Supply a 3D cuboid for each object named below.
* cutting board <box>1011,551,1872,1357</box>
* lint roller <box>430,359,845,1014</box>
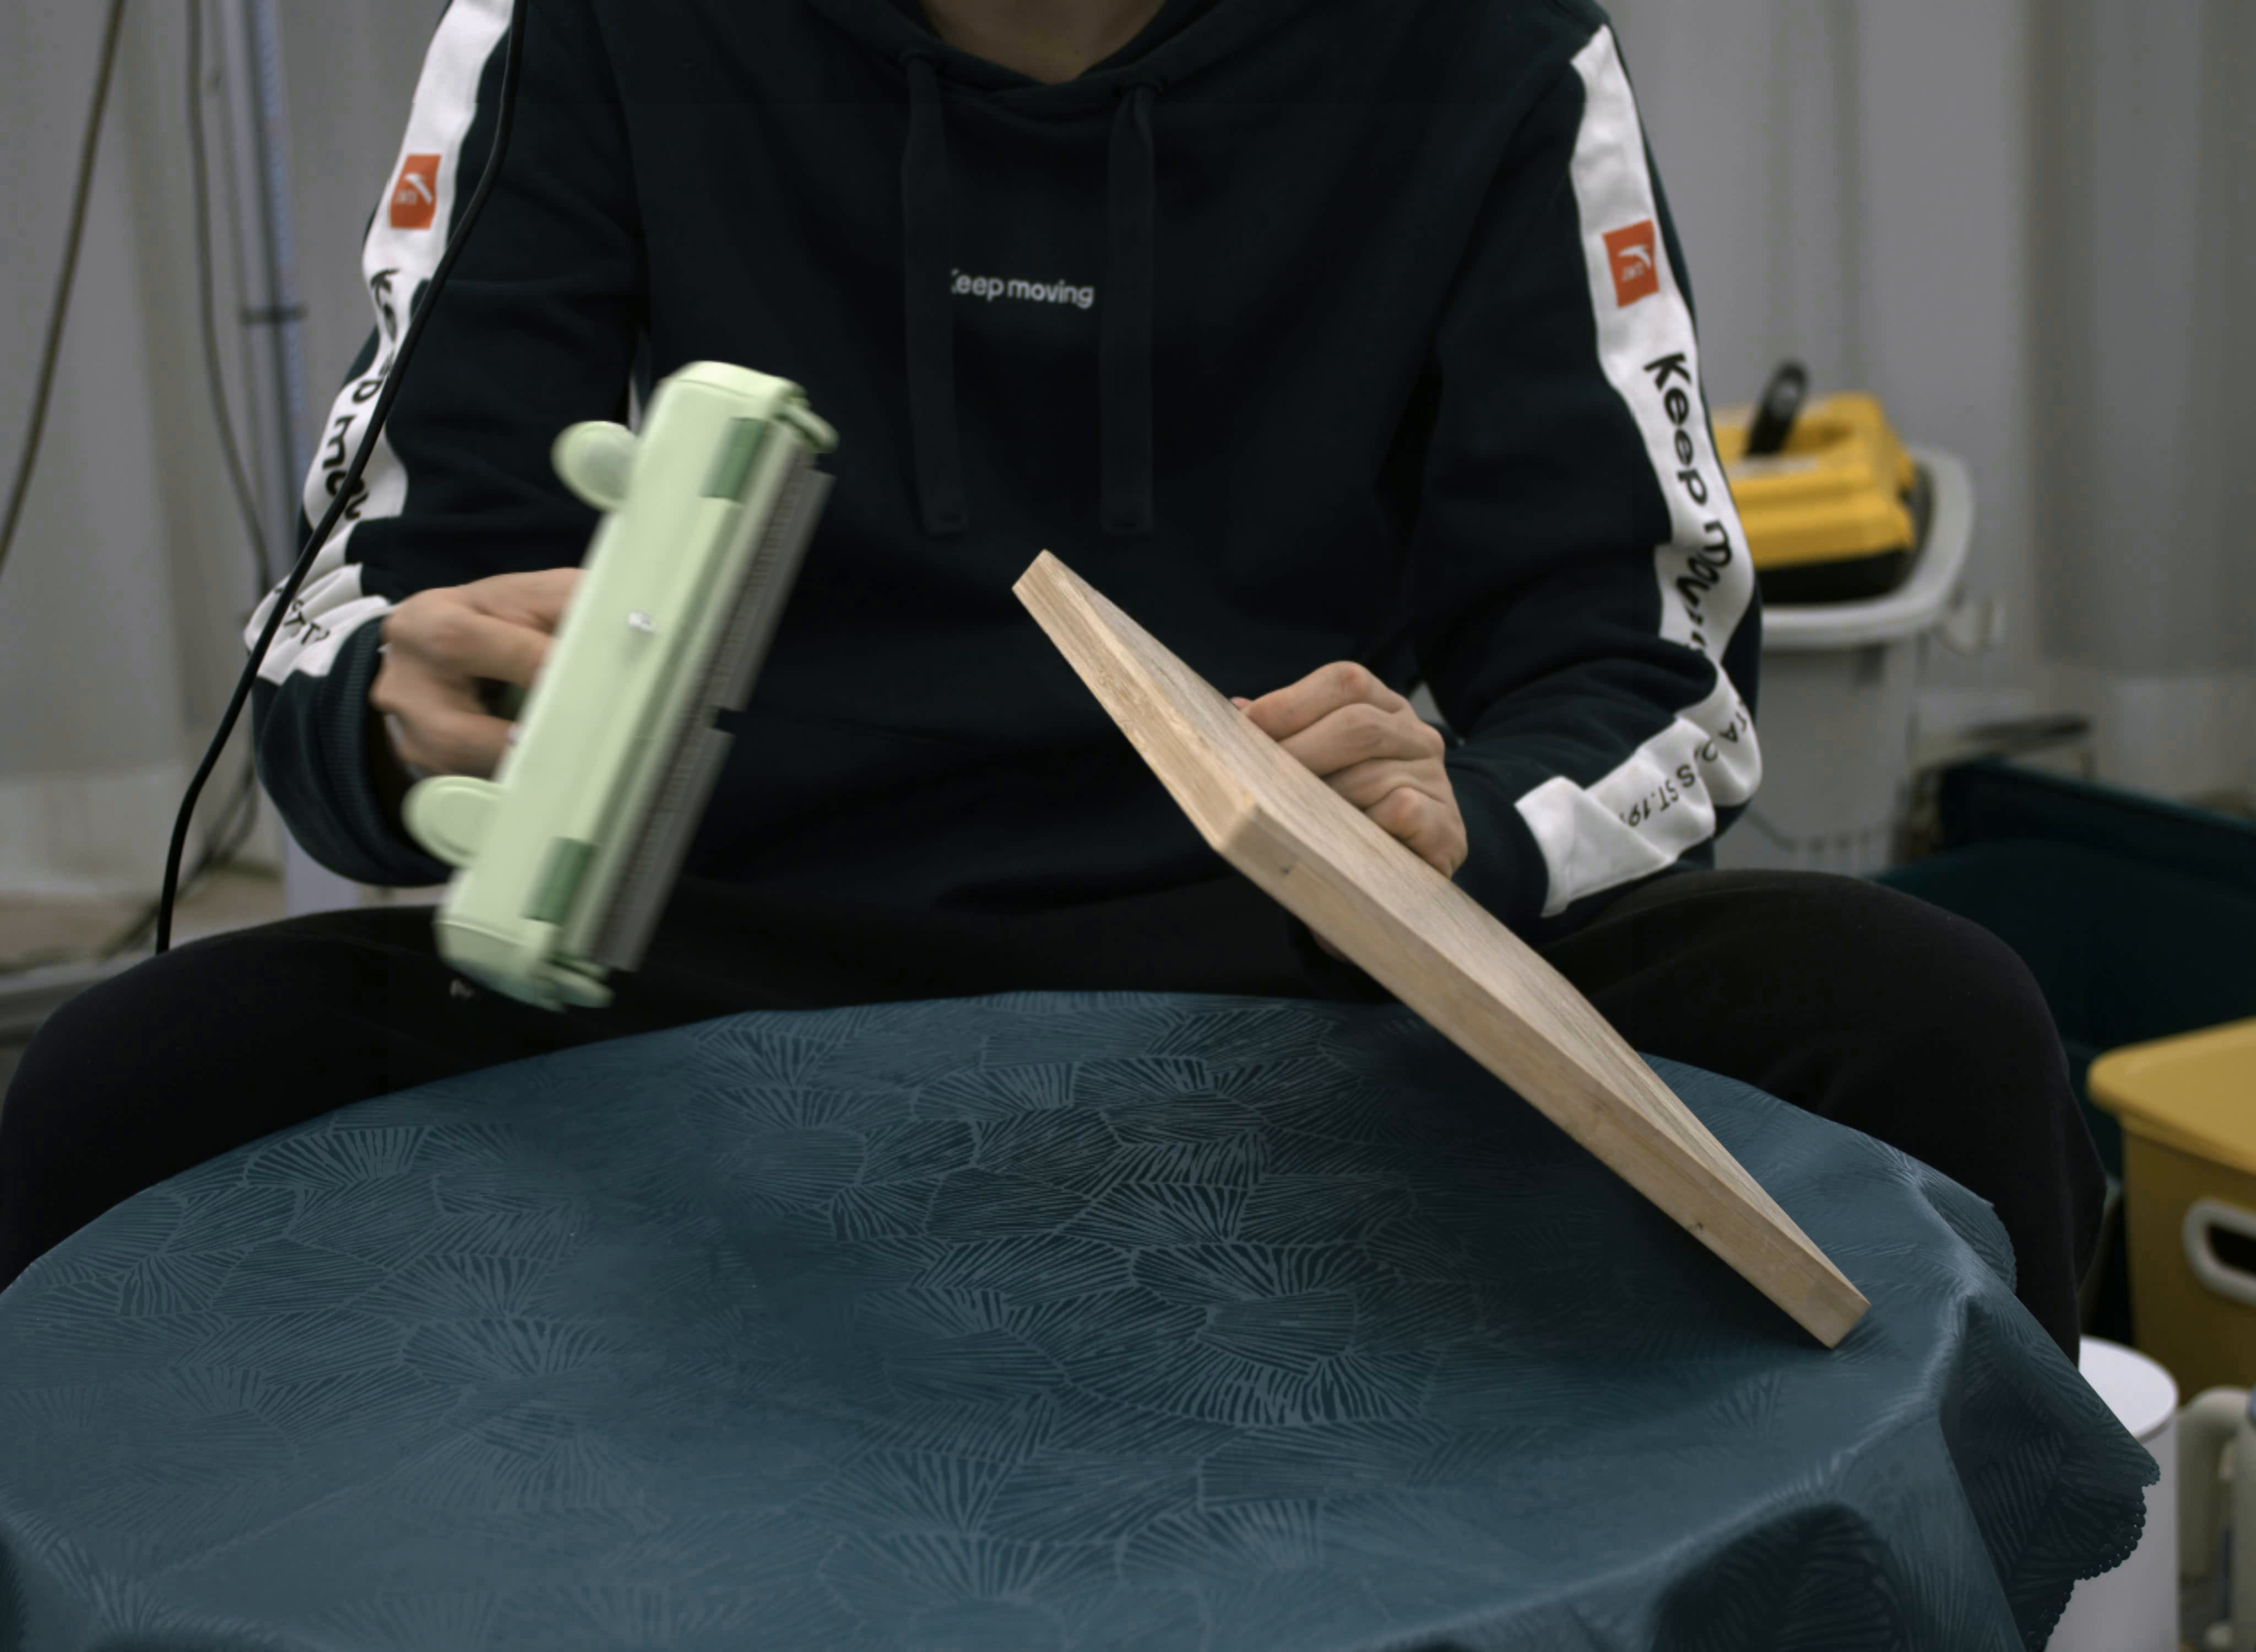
[{"bbox_3d":[0.085,0.030,1.677,0.249,0.023,0.351,39,4,-18],"label":"cutting board"},{"bbox_3d":[-0.173,-0.045,1.667,0.081,0.200,0.184,27,-13,-28],"label":"lint roller"}]
